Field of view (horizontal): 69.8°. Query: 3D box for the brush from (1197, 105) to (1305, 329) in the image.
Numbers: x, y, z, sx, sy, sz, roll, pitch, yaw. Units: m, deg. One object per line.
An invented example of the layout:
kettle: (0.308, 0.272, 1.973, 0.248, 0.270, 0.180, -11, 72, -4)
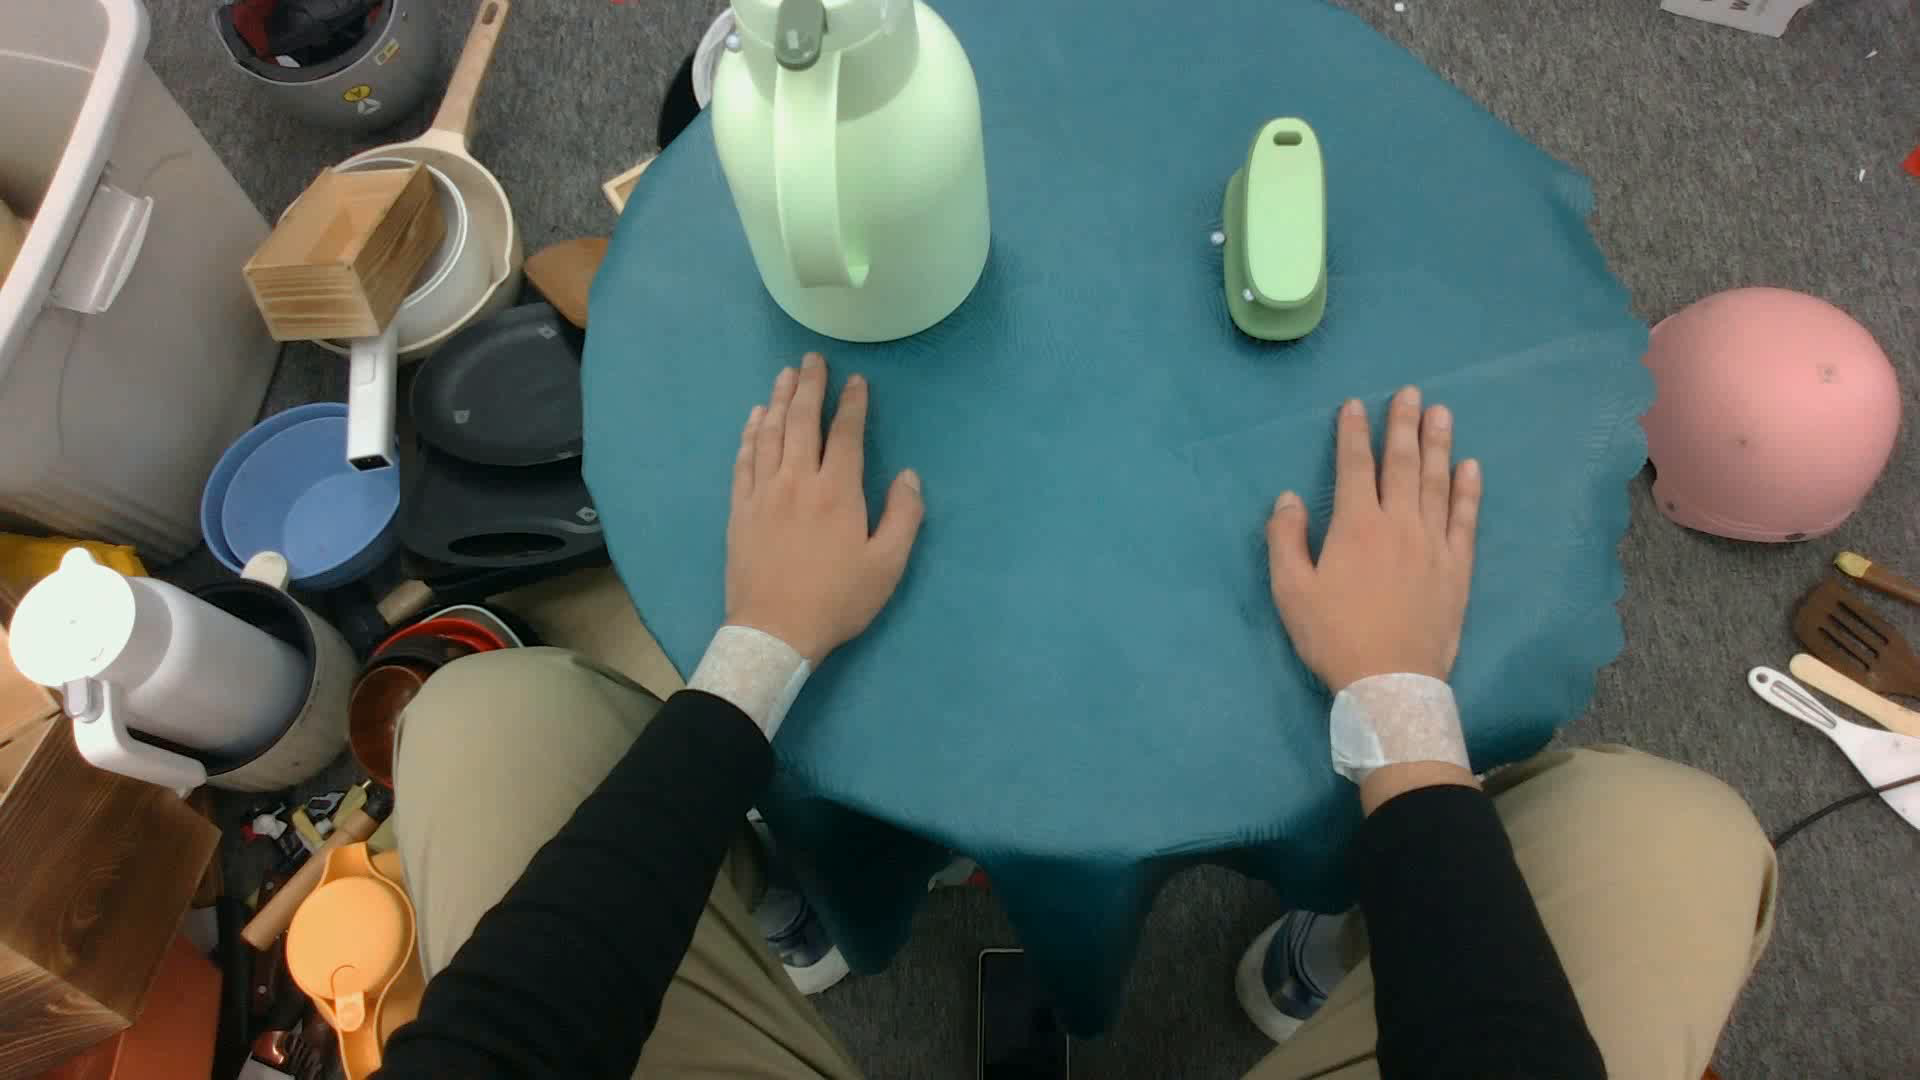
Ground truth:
brush: (0.172, -0.186, 0.813, 0.059, 0.076, 0.123, 5, 88, 2)

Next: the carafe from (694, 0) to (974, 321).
carafe: (-0.070, -0.219, 0.721, 0.144, 0.256, 0.187, 2, 73, 3)
